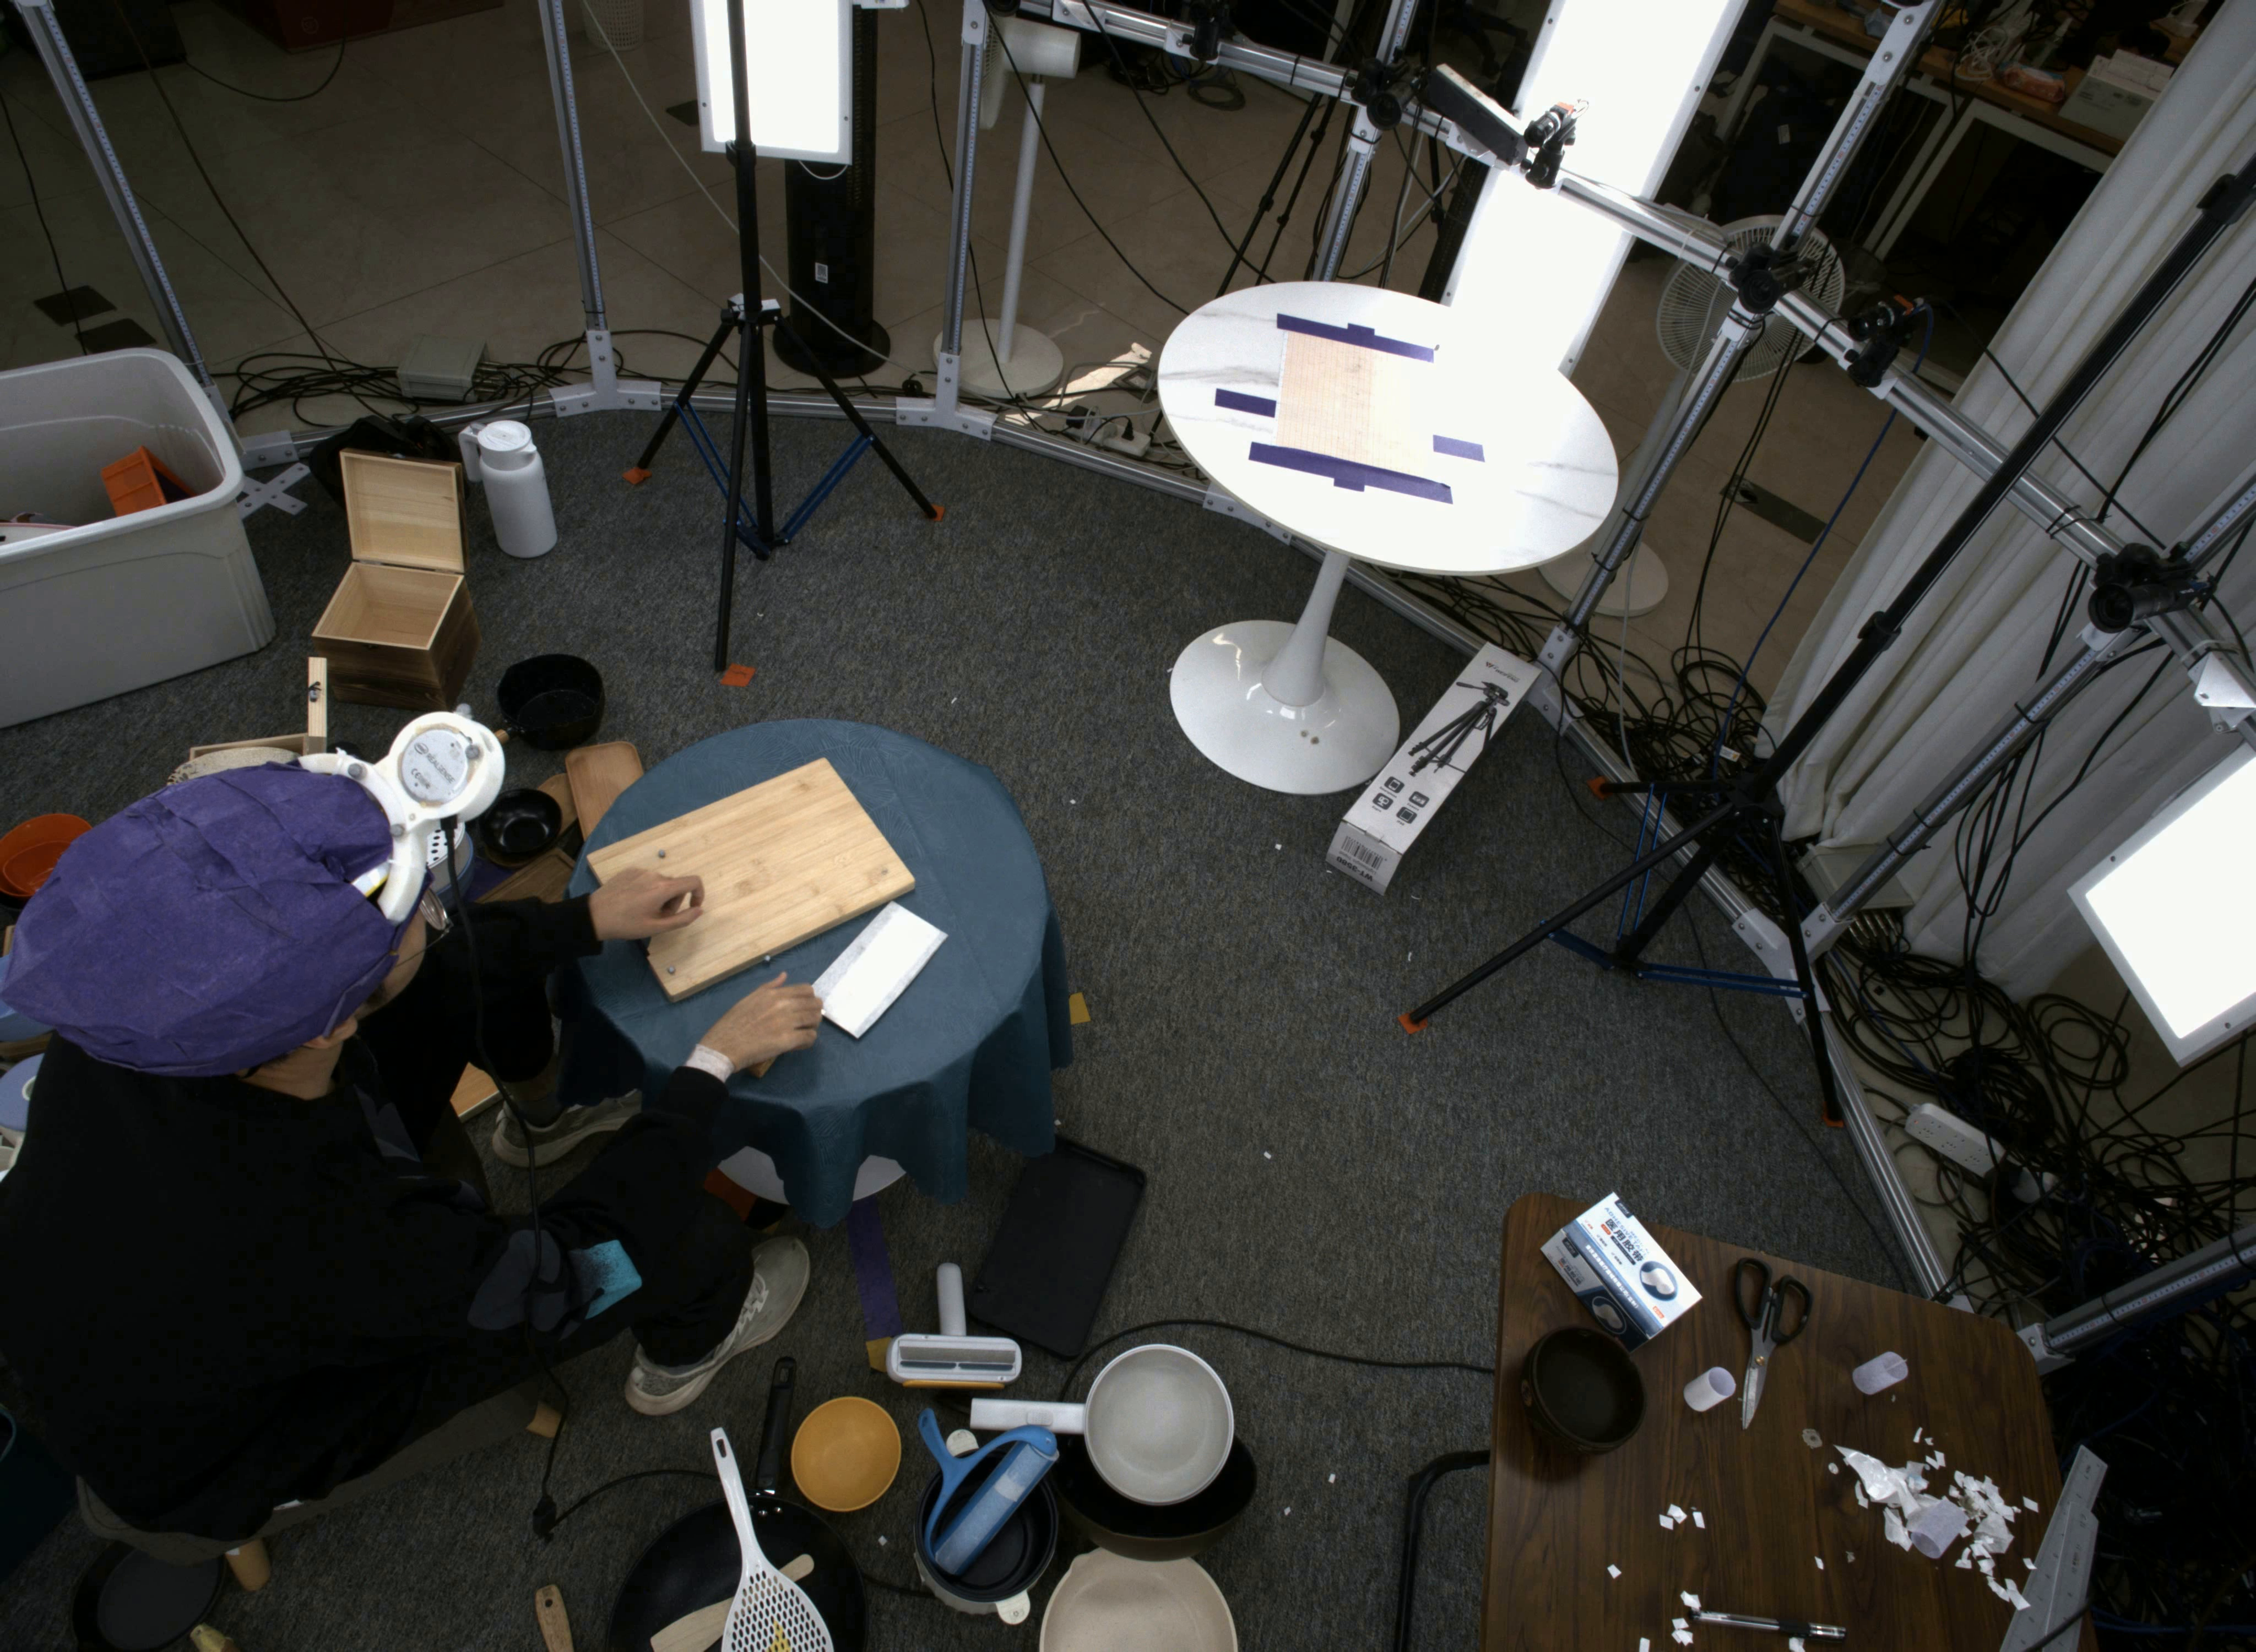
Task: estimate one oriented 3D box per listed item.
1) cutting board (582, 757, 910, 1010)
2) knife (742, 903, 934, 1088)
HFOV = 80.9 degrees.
[{"bbox_3d":[-0.483,0.060,1.642,0.350,0.024,0.245,-28,65,-31],"label":"cutting board"},{"bbox_3d":[-0.340,0.208,1.571,0.092,0.021,0.304,32,50,7],"label":"knife"}]
